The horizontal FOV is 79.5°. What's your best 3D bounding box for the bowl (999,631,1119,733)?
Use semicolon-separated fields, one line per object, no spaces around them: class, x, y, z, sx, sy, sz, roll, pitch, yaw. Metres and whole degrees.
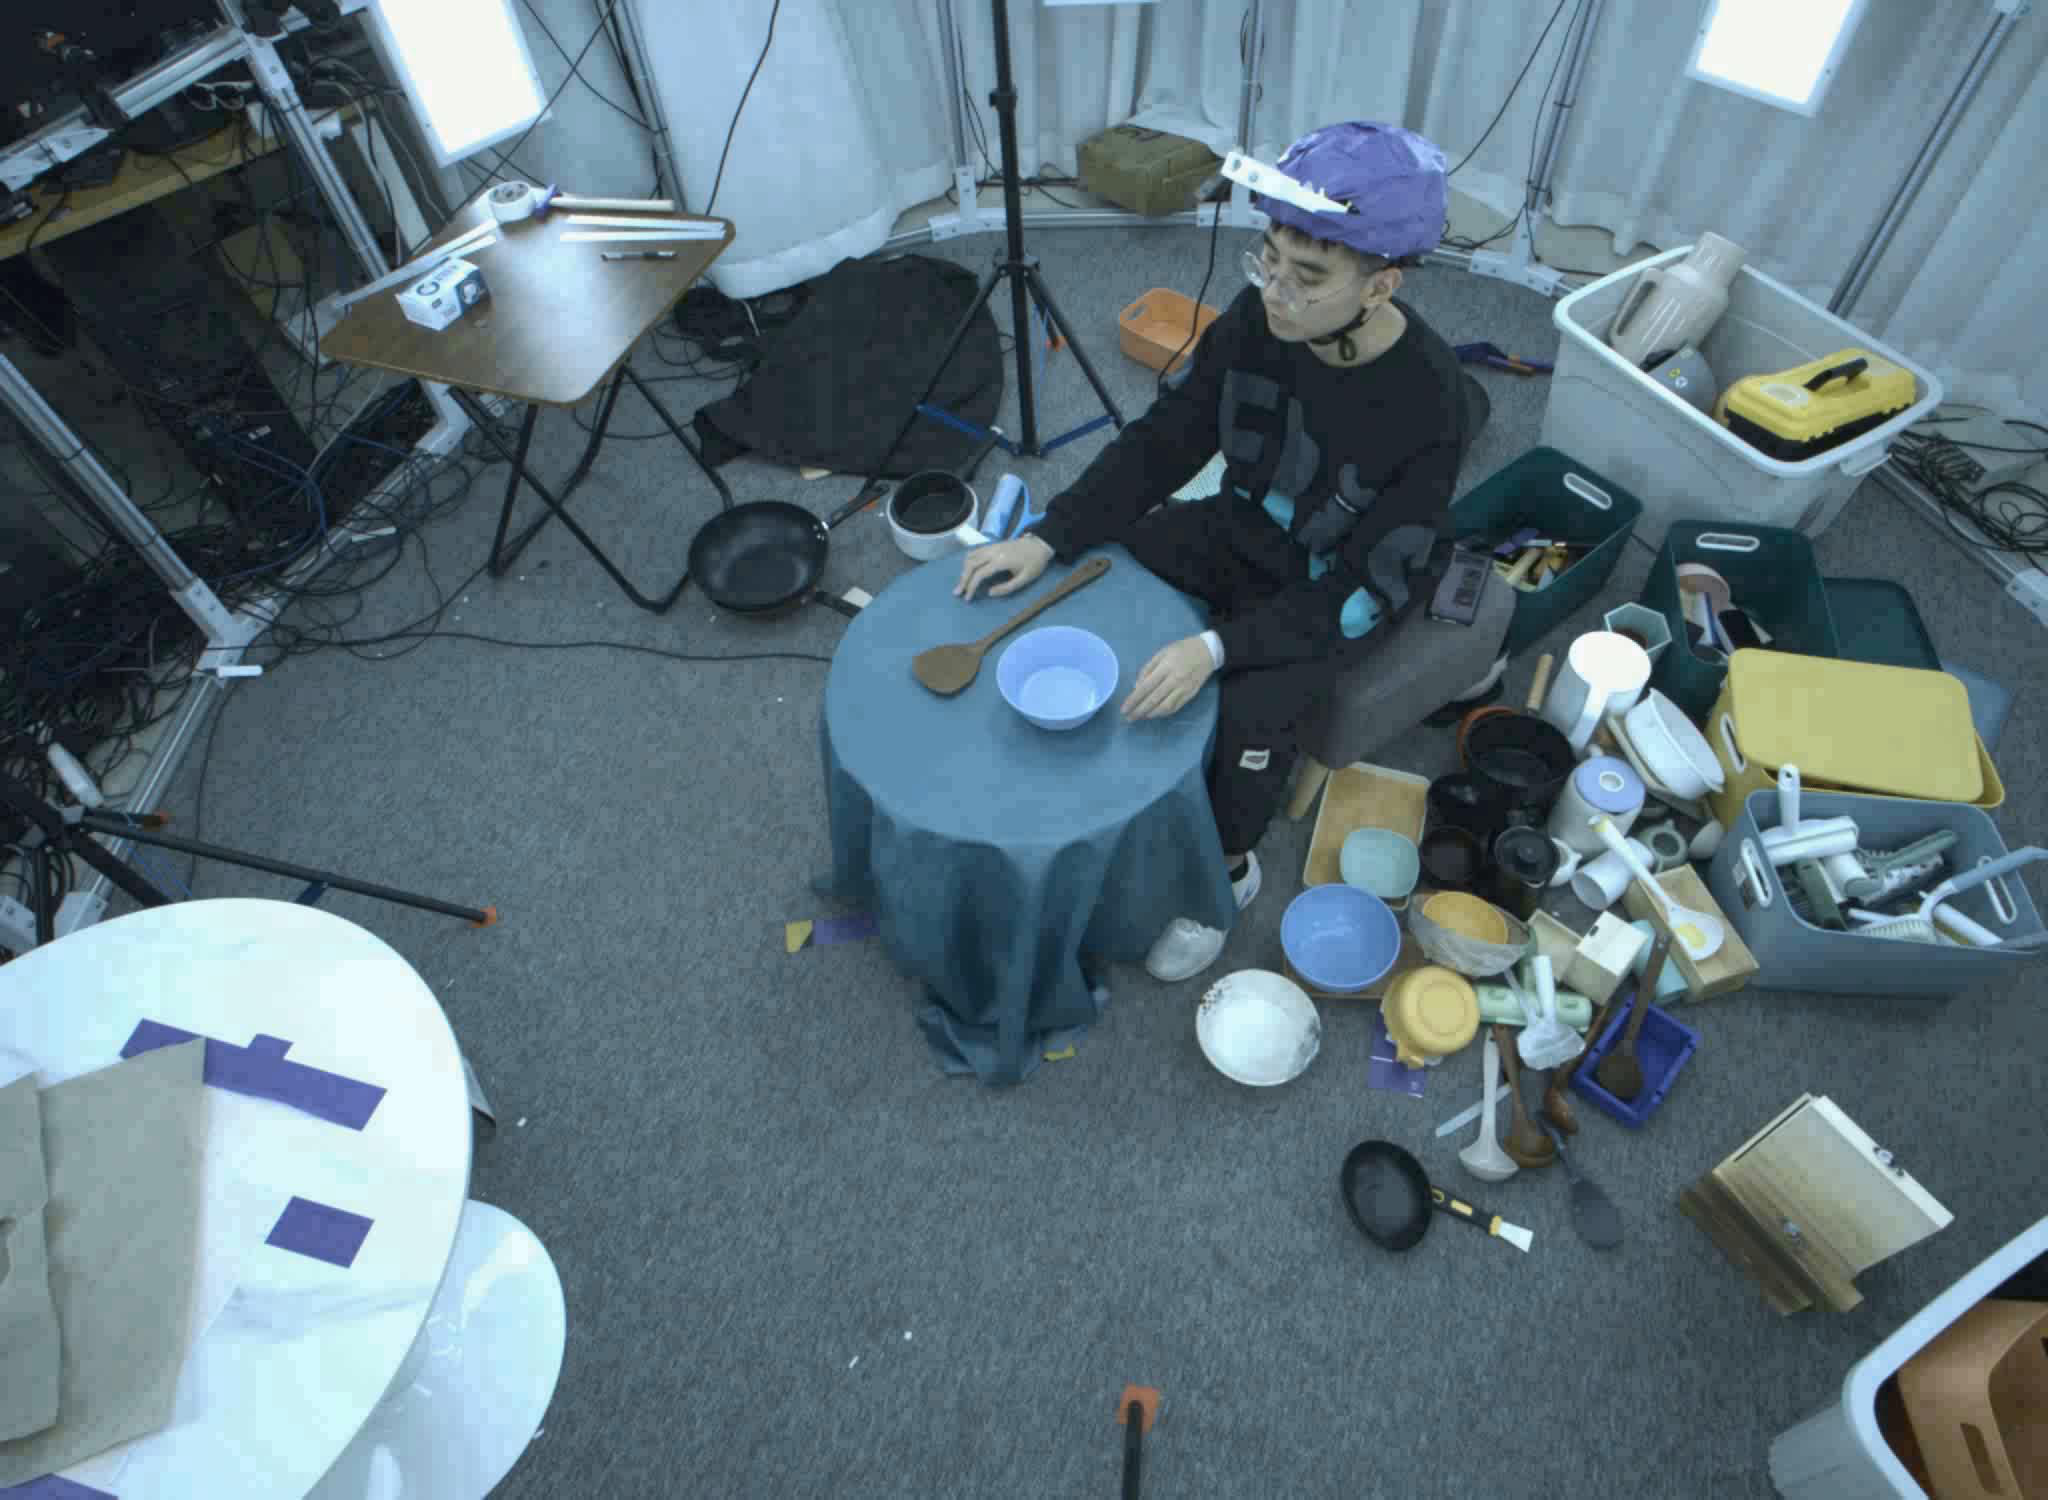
bowl;0.051;-0.090;1.817;0.176;0.071;0.174;0;54;1

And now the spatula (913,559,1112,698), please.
spatula;-0.006;-0.203;1.933;0.389;0.016;0.094;-37;62;-22
